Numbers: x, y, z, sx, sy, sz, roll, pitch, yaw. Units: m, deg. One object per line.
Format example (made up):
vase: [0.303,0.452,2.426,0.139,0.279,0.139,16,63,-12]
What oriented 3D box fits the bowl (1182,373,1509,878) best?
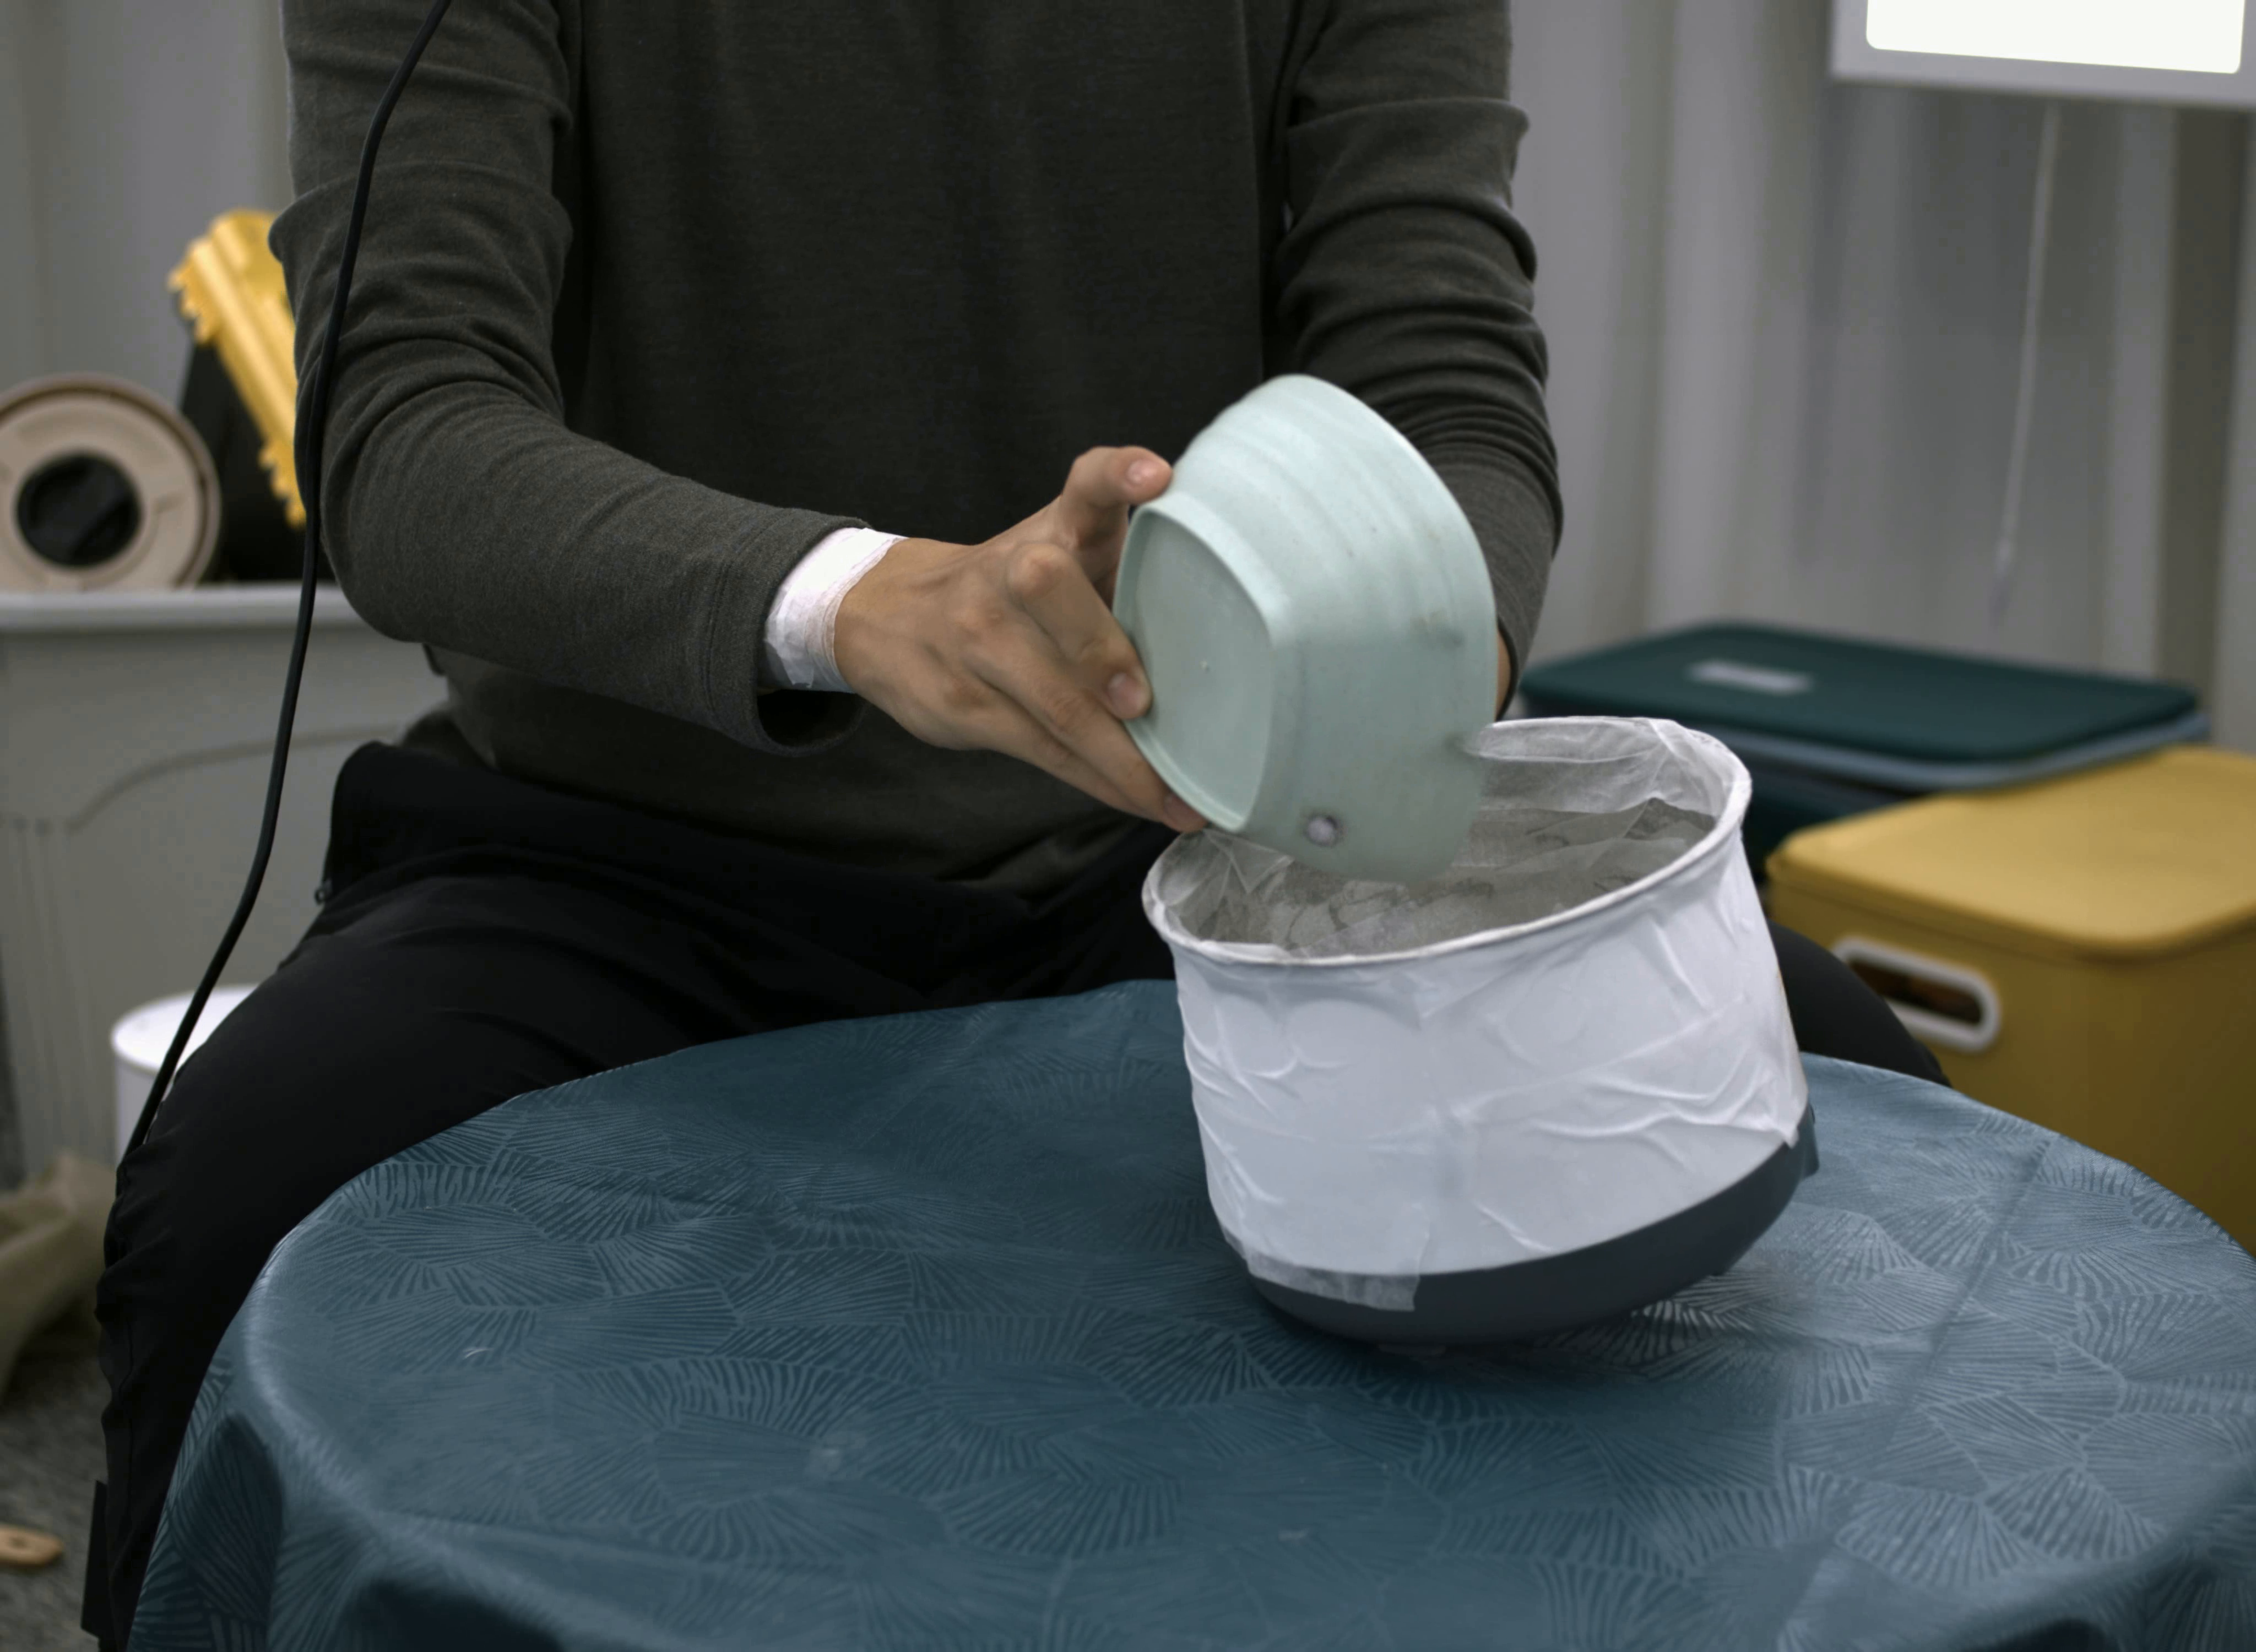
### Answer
bowl: [0.057,-0.050,1.507,0.058,0.153,0.150,-18,19,-7]

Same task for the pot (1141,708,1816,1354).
pot: [0.097,0.051,1.542,0.178,0.138,0.231,-15,21,-8]
